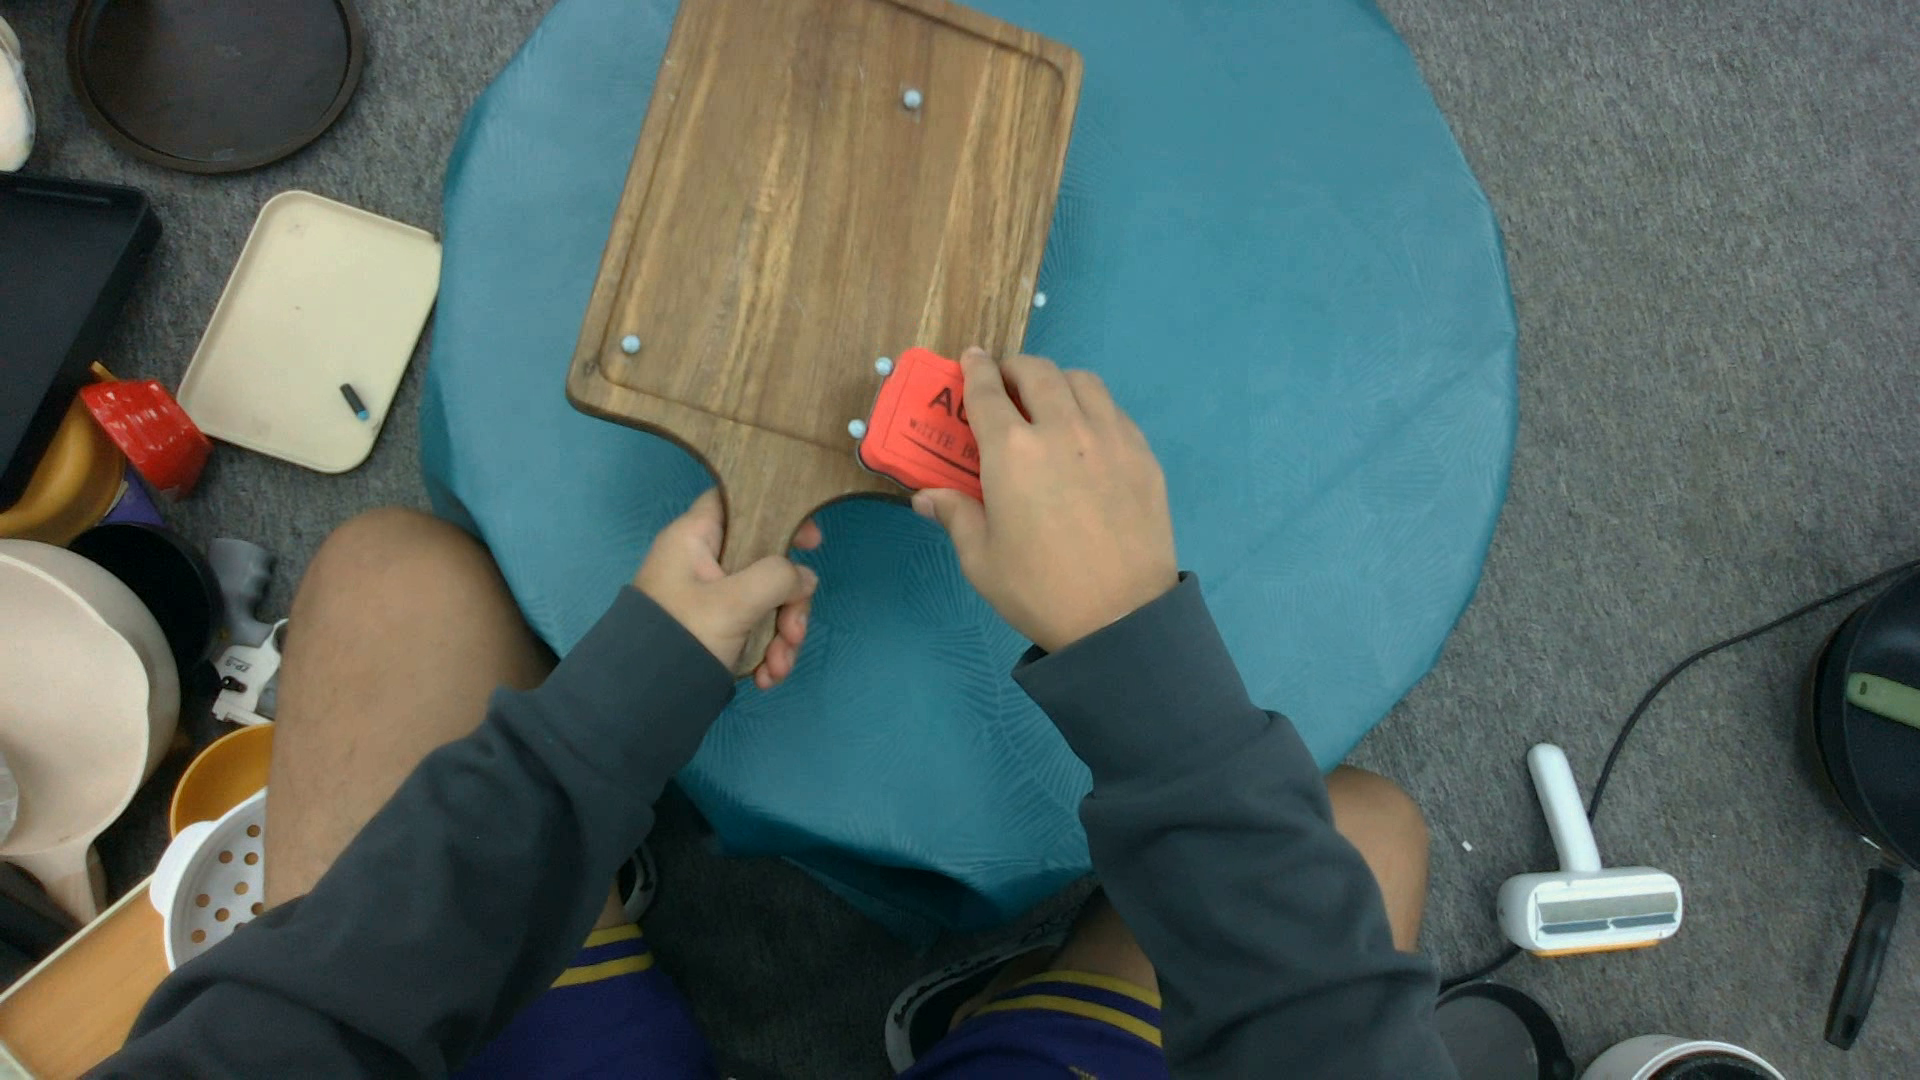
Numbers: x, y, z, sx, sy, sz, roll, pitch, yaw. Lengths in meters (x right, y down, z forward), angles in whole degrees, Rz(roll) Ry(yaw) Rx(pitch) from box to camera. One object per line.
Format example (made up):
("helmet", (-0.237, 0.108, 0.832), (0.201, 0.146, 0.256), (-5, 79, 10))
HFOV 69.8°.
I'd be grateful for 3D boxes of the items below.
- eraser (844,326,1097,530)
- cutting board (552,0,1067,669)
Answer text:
("eraser", (0.006, -0.049, 0.614), (0.108, 0.023, 0.059), (23, 74, -18))
("cutting board", (-0.072, -0.114, 0.634), (0.201, 0.023, 0.353), (15, 79, -15))
